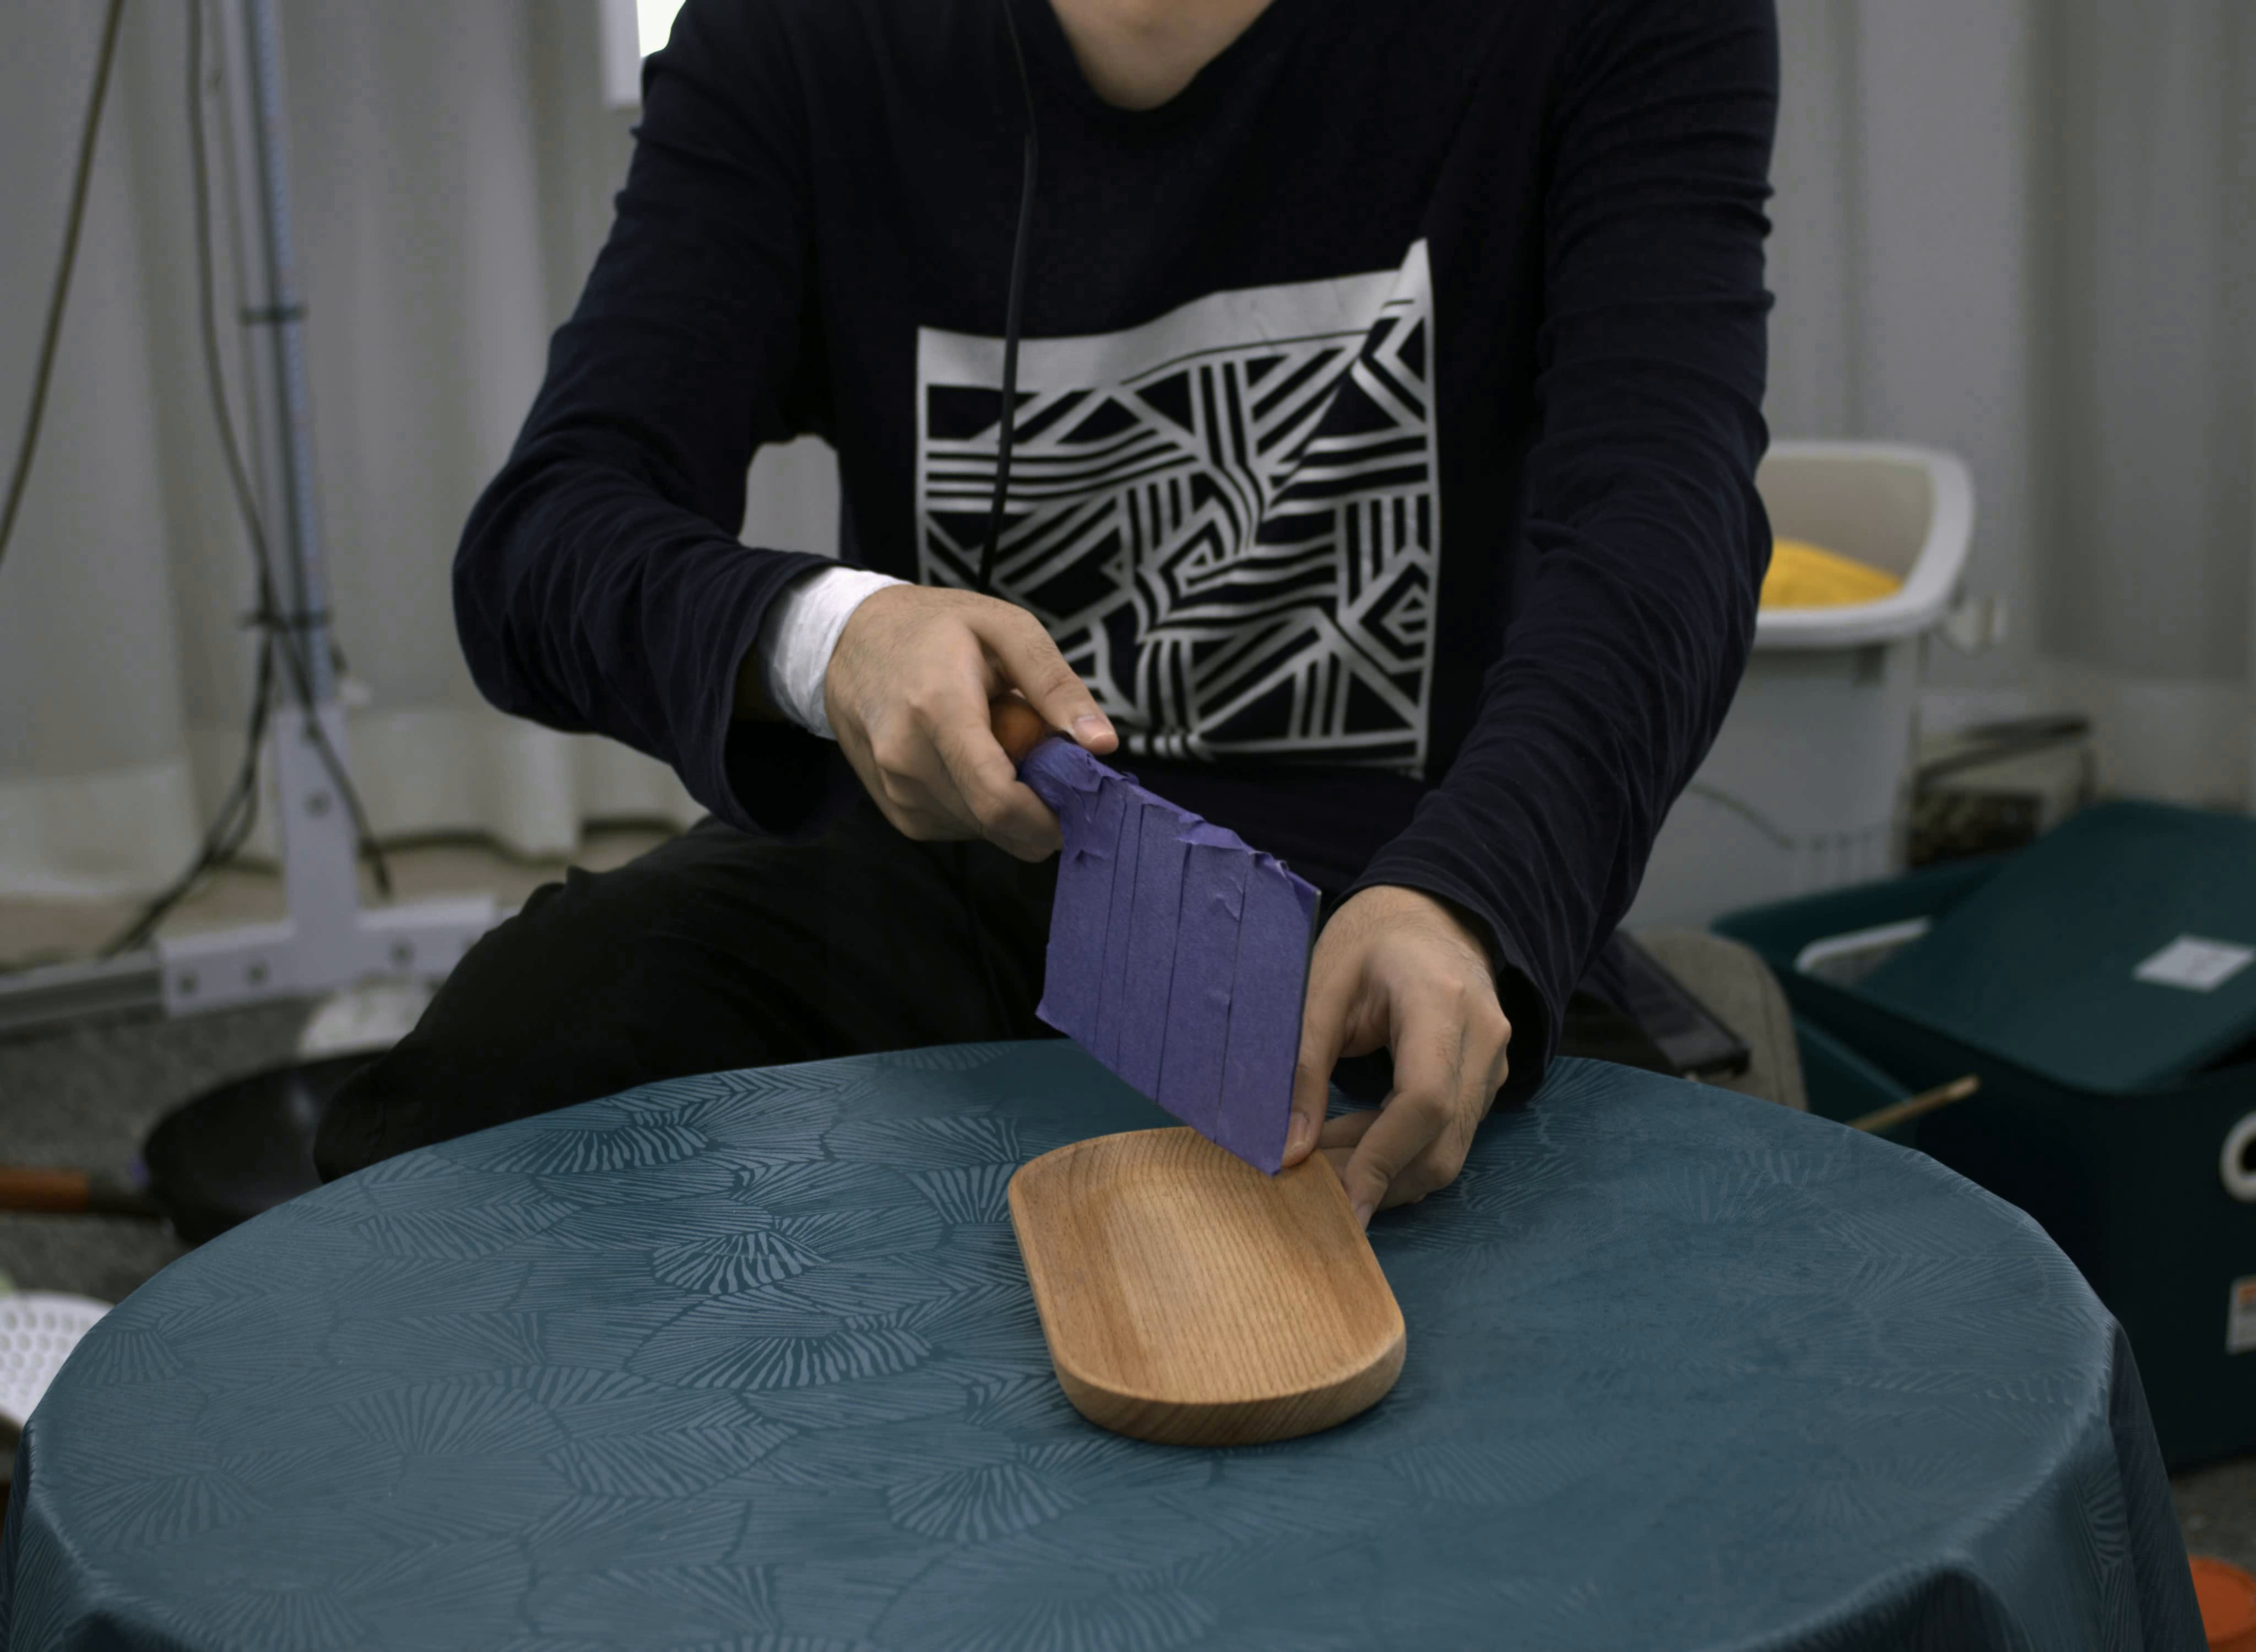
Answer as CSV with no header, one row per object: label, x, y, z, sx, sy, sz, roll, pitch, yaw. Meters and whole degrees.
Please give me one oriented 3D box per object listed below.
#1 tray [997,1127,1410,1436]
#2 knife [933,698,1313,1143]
tray,0.020,0.132,1.610,0.101,0.020,0.233,-5,14,-7
knife,-0.008,0.027,1.724,0.032,0.104,0.317,6,8,-20
